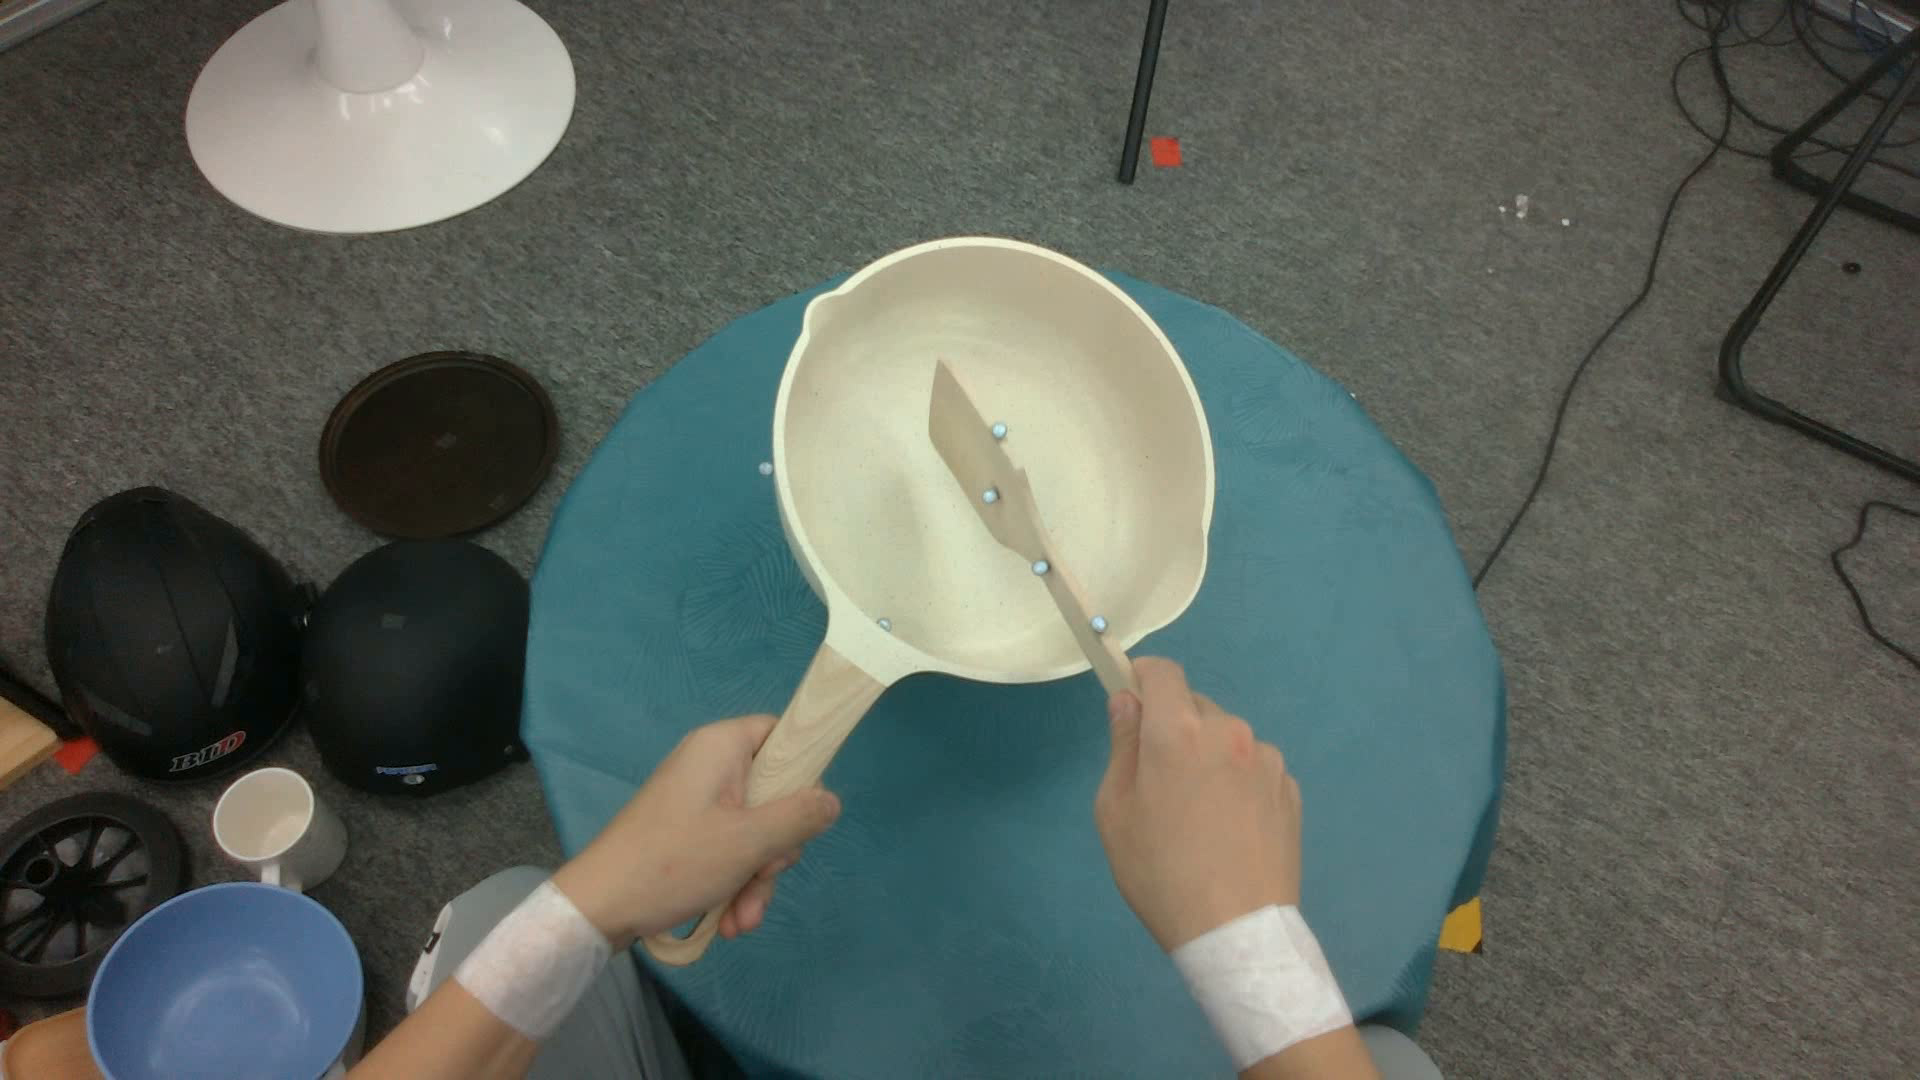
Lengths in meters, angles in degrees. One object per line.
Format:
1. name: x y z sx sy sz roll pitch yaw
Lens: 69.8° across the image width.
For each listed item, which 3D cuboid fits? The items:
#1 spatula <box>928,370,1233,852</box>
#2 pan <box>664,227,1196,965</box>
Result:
1. spatula: 0.055 0.031 0.702 0.011 0.072 0.293 -20 58 -21
2. pan: -0.038 0.026 0.751 0.263 0.101 0.436 35 69 -8
